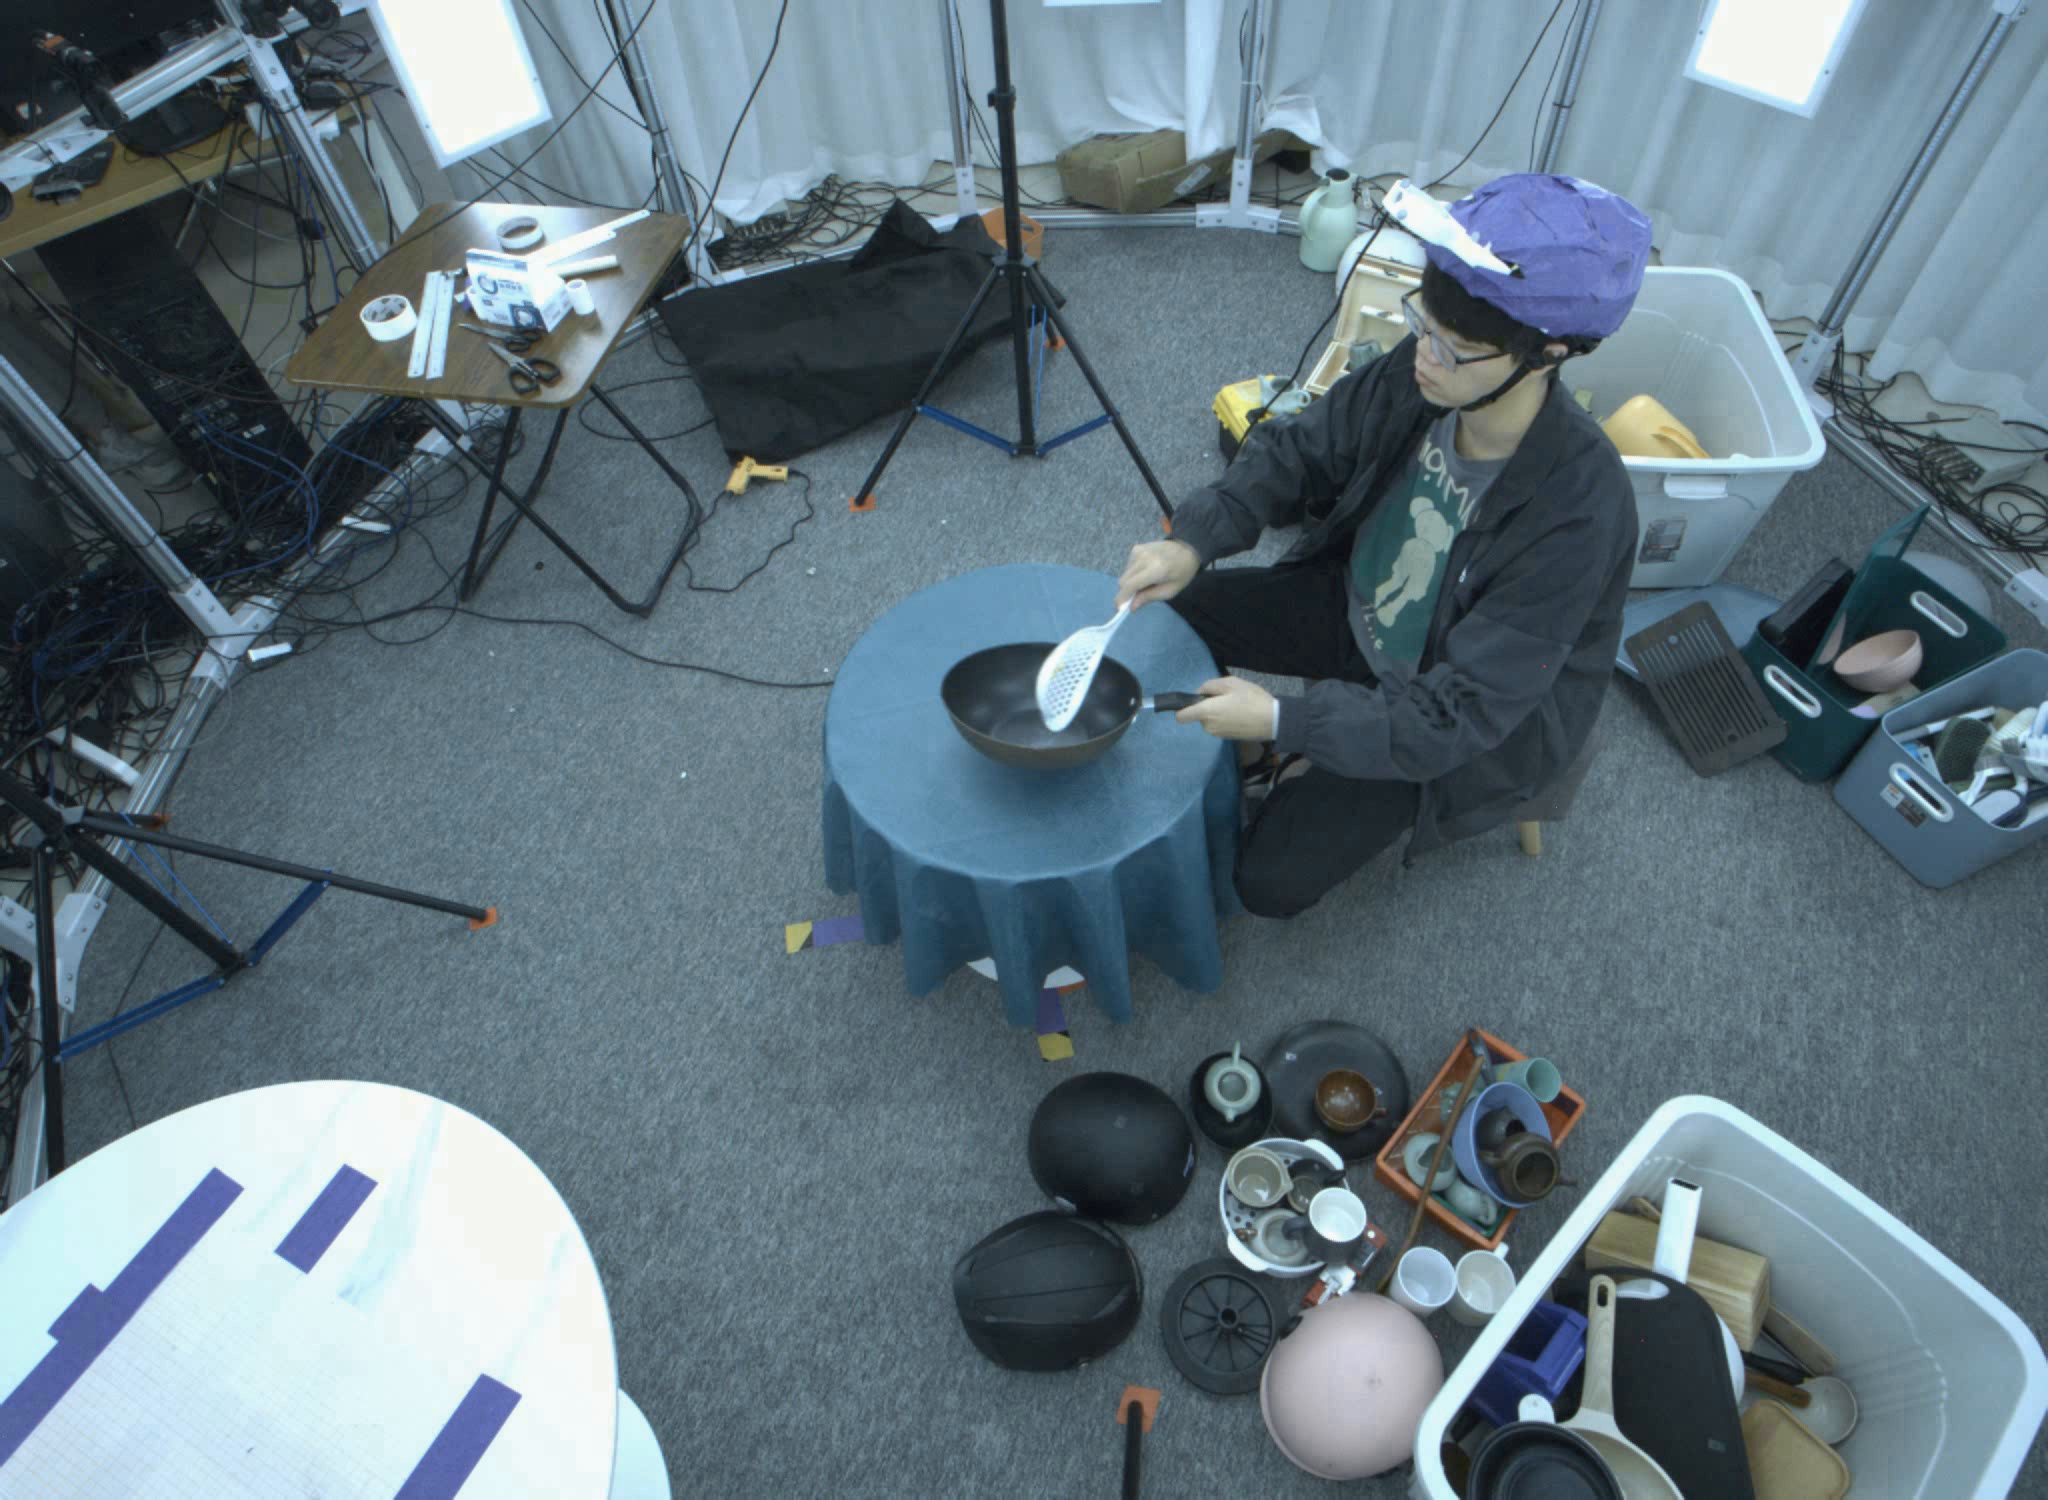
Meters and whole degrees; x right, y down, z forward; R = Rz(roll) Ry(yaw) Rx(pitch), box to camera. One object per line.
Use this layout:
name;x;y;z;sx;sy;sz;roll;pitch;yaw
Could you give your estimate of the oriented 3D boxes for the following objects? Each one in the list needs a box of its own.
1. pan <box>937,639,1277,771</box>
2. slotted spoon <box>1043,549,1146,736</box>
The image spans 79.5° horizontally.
pan;0.112;-0.047;1.696;0.463;0.087;0.285;4;34;0
slotted spoon;0.110;-0.166;1.725;0.049;0.139;0.349;20;54;26
